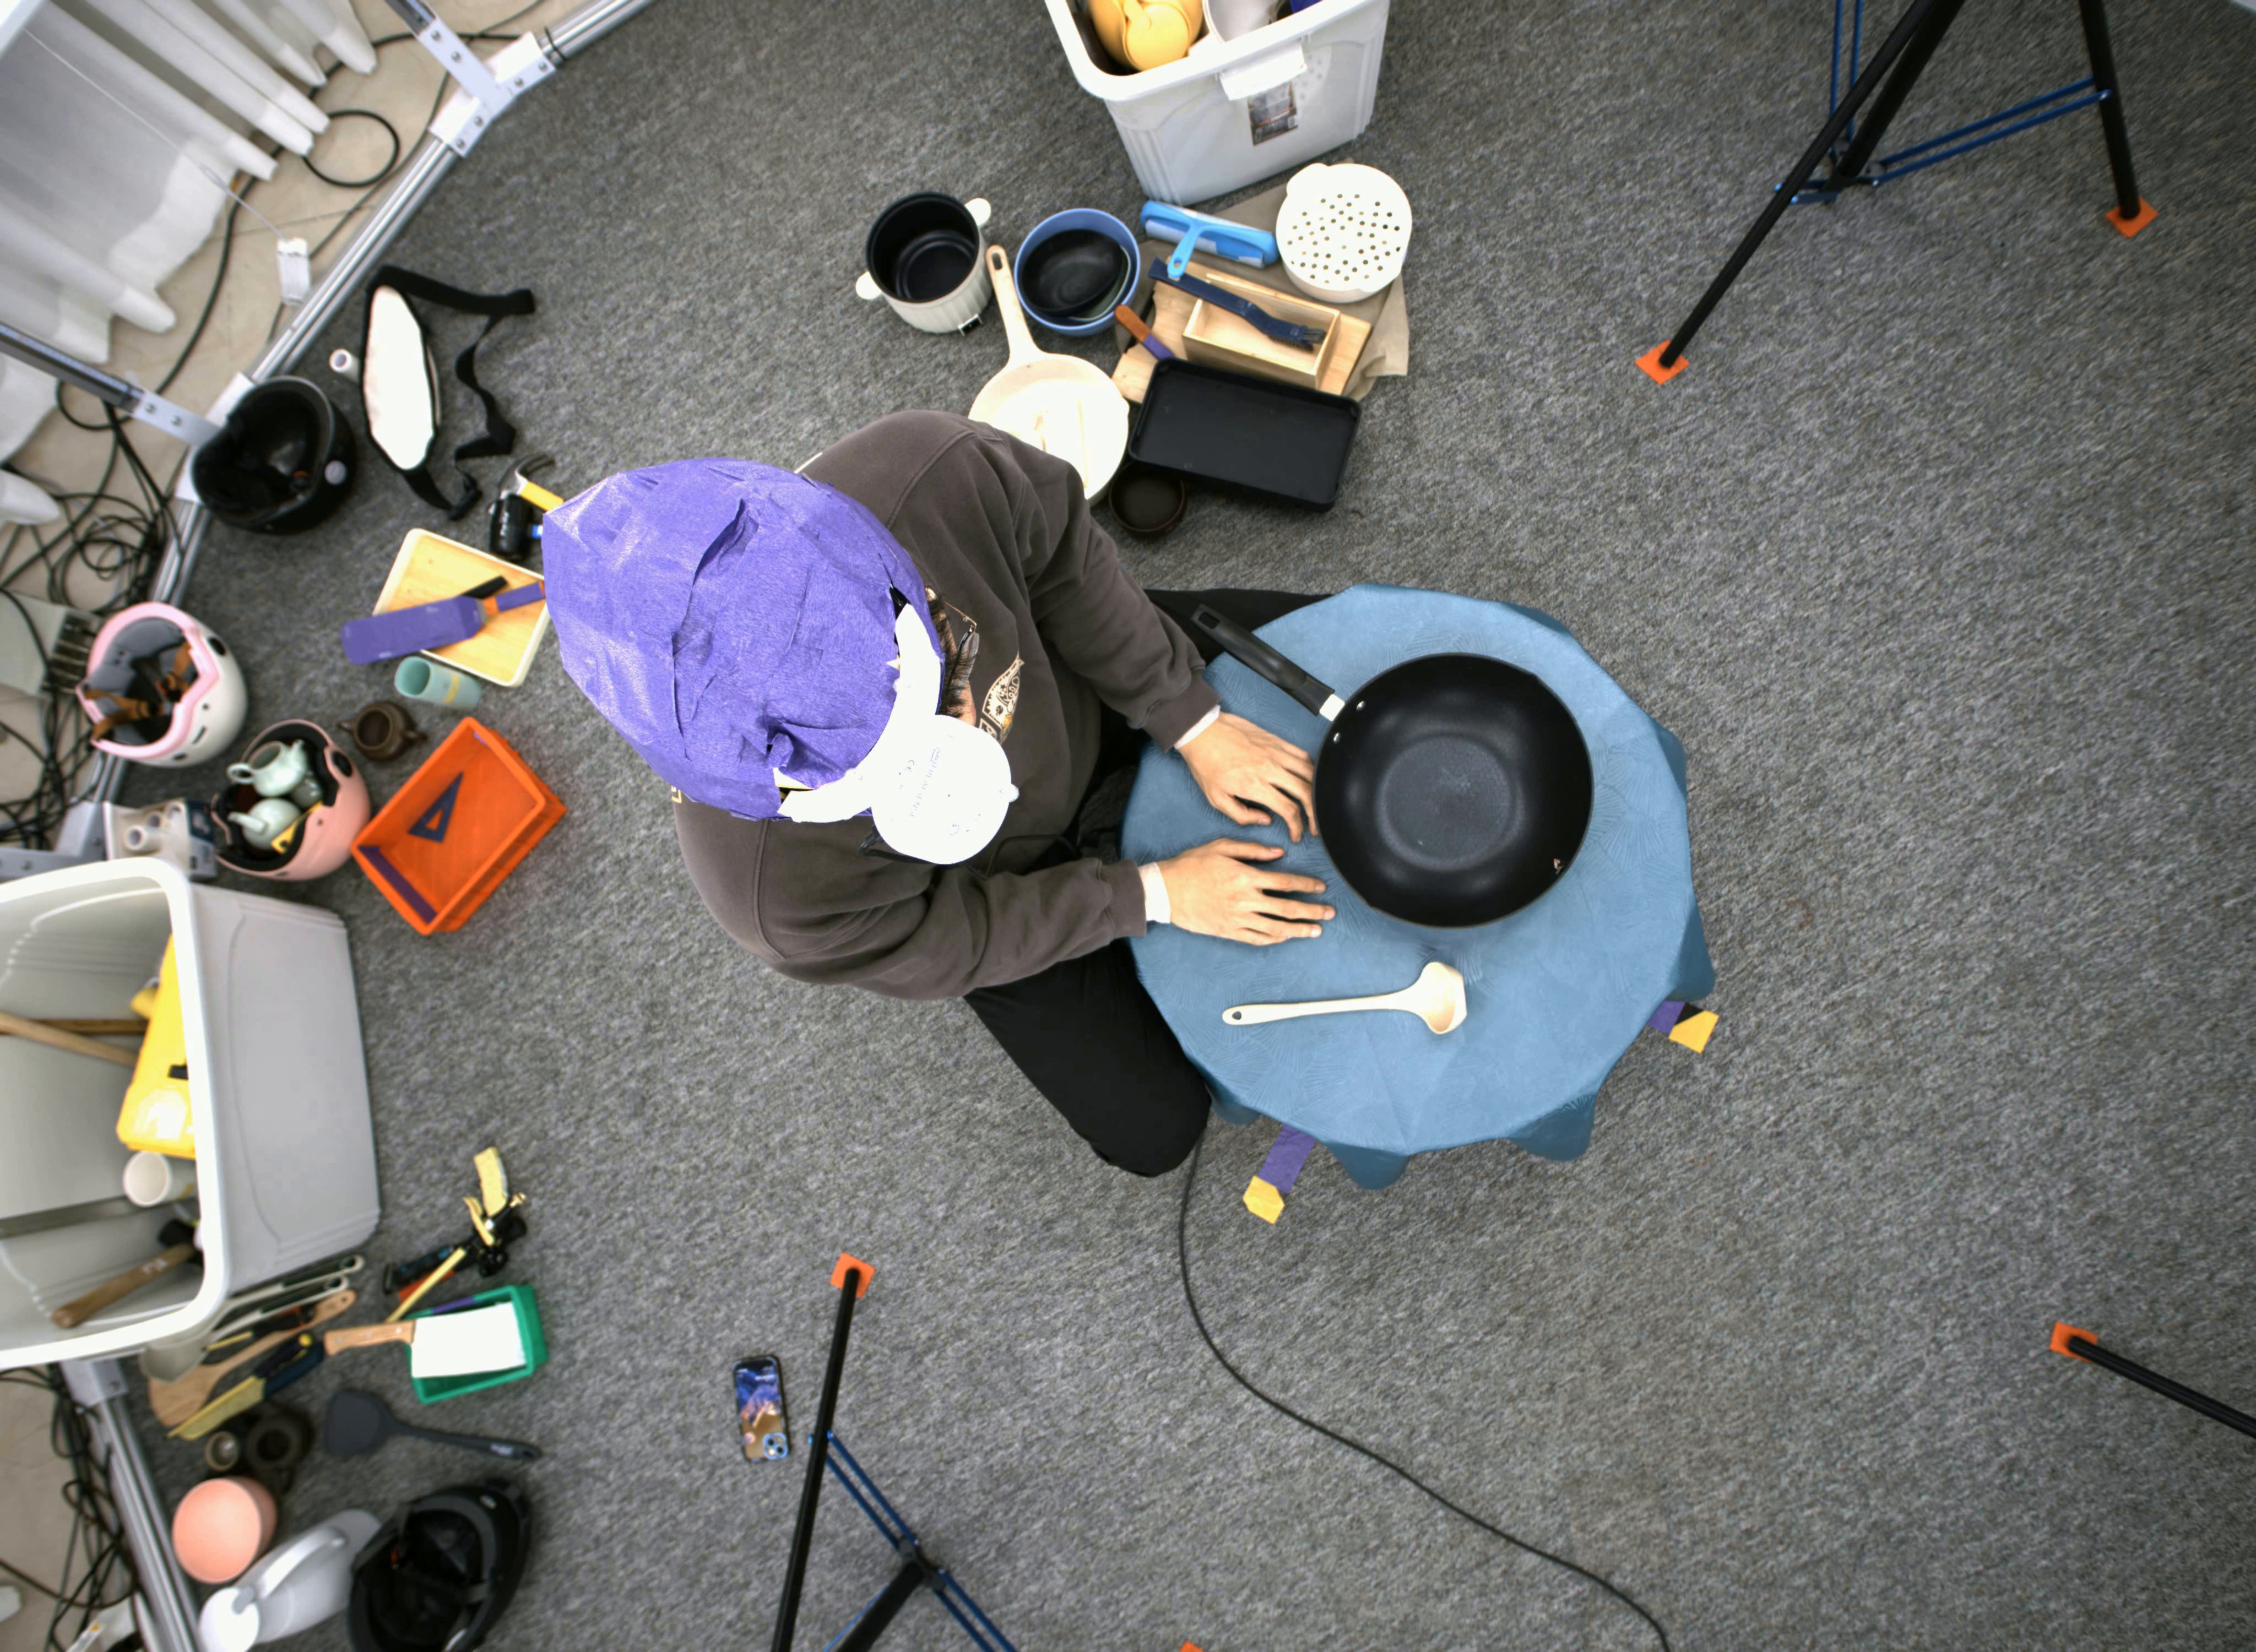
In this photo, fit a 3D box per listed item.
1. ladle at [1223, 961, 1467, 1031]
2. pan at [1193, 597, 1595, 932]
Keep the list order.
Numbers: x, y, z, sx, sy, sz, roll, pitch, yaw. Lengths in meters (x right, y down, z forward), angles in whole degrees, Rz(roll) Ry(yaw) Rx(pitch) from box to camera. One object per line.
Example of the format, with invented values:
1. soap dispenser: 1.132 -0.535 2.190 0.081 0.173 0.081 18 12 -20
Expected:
1. ladle: 0.219 0.188 1.425 0.256 0.072 0.072 -9 90 10
2. pan: 0.256 -0.086 1.426 0.462 0.087 0.289 37 94 11
